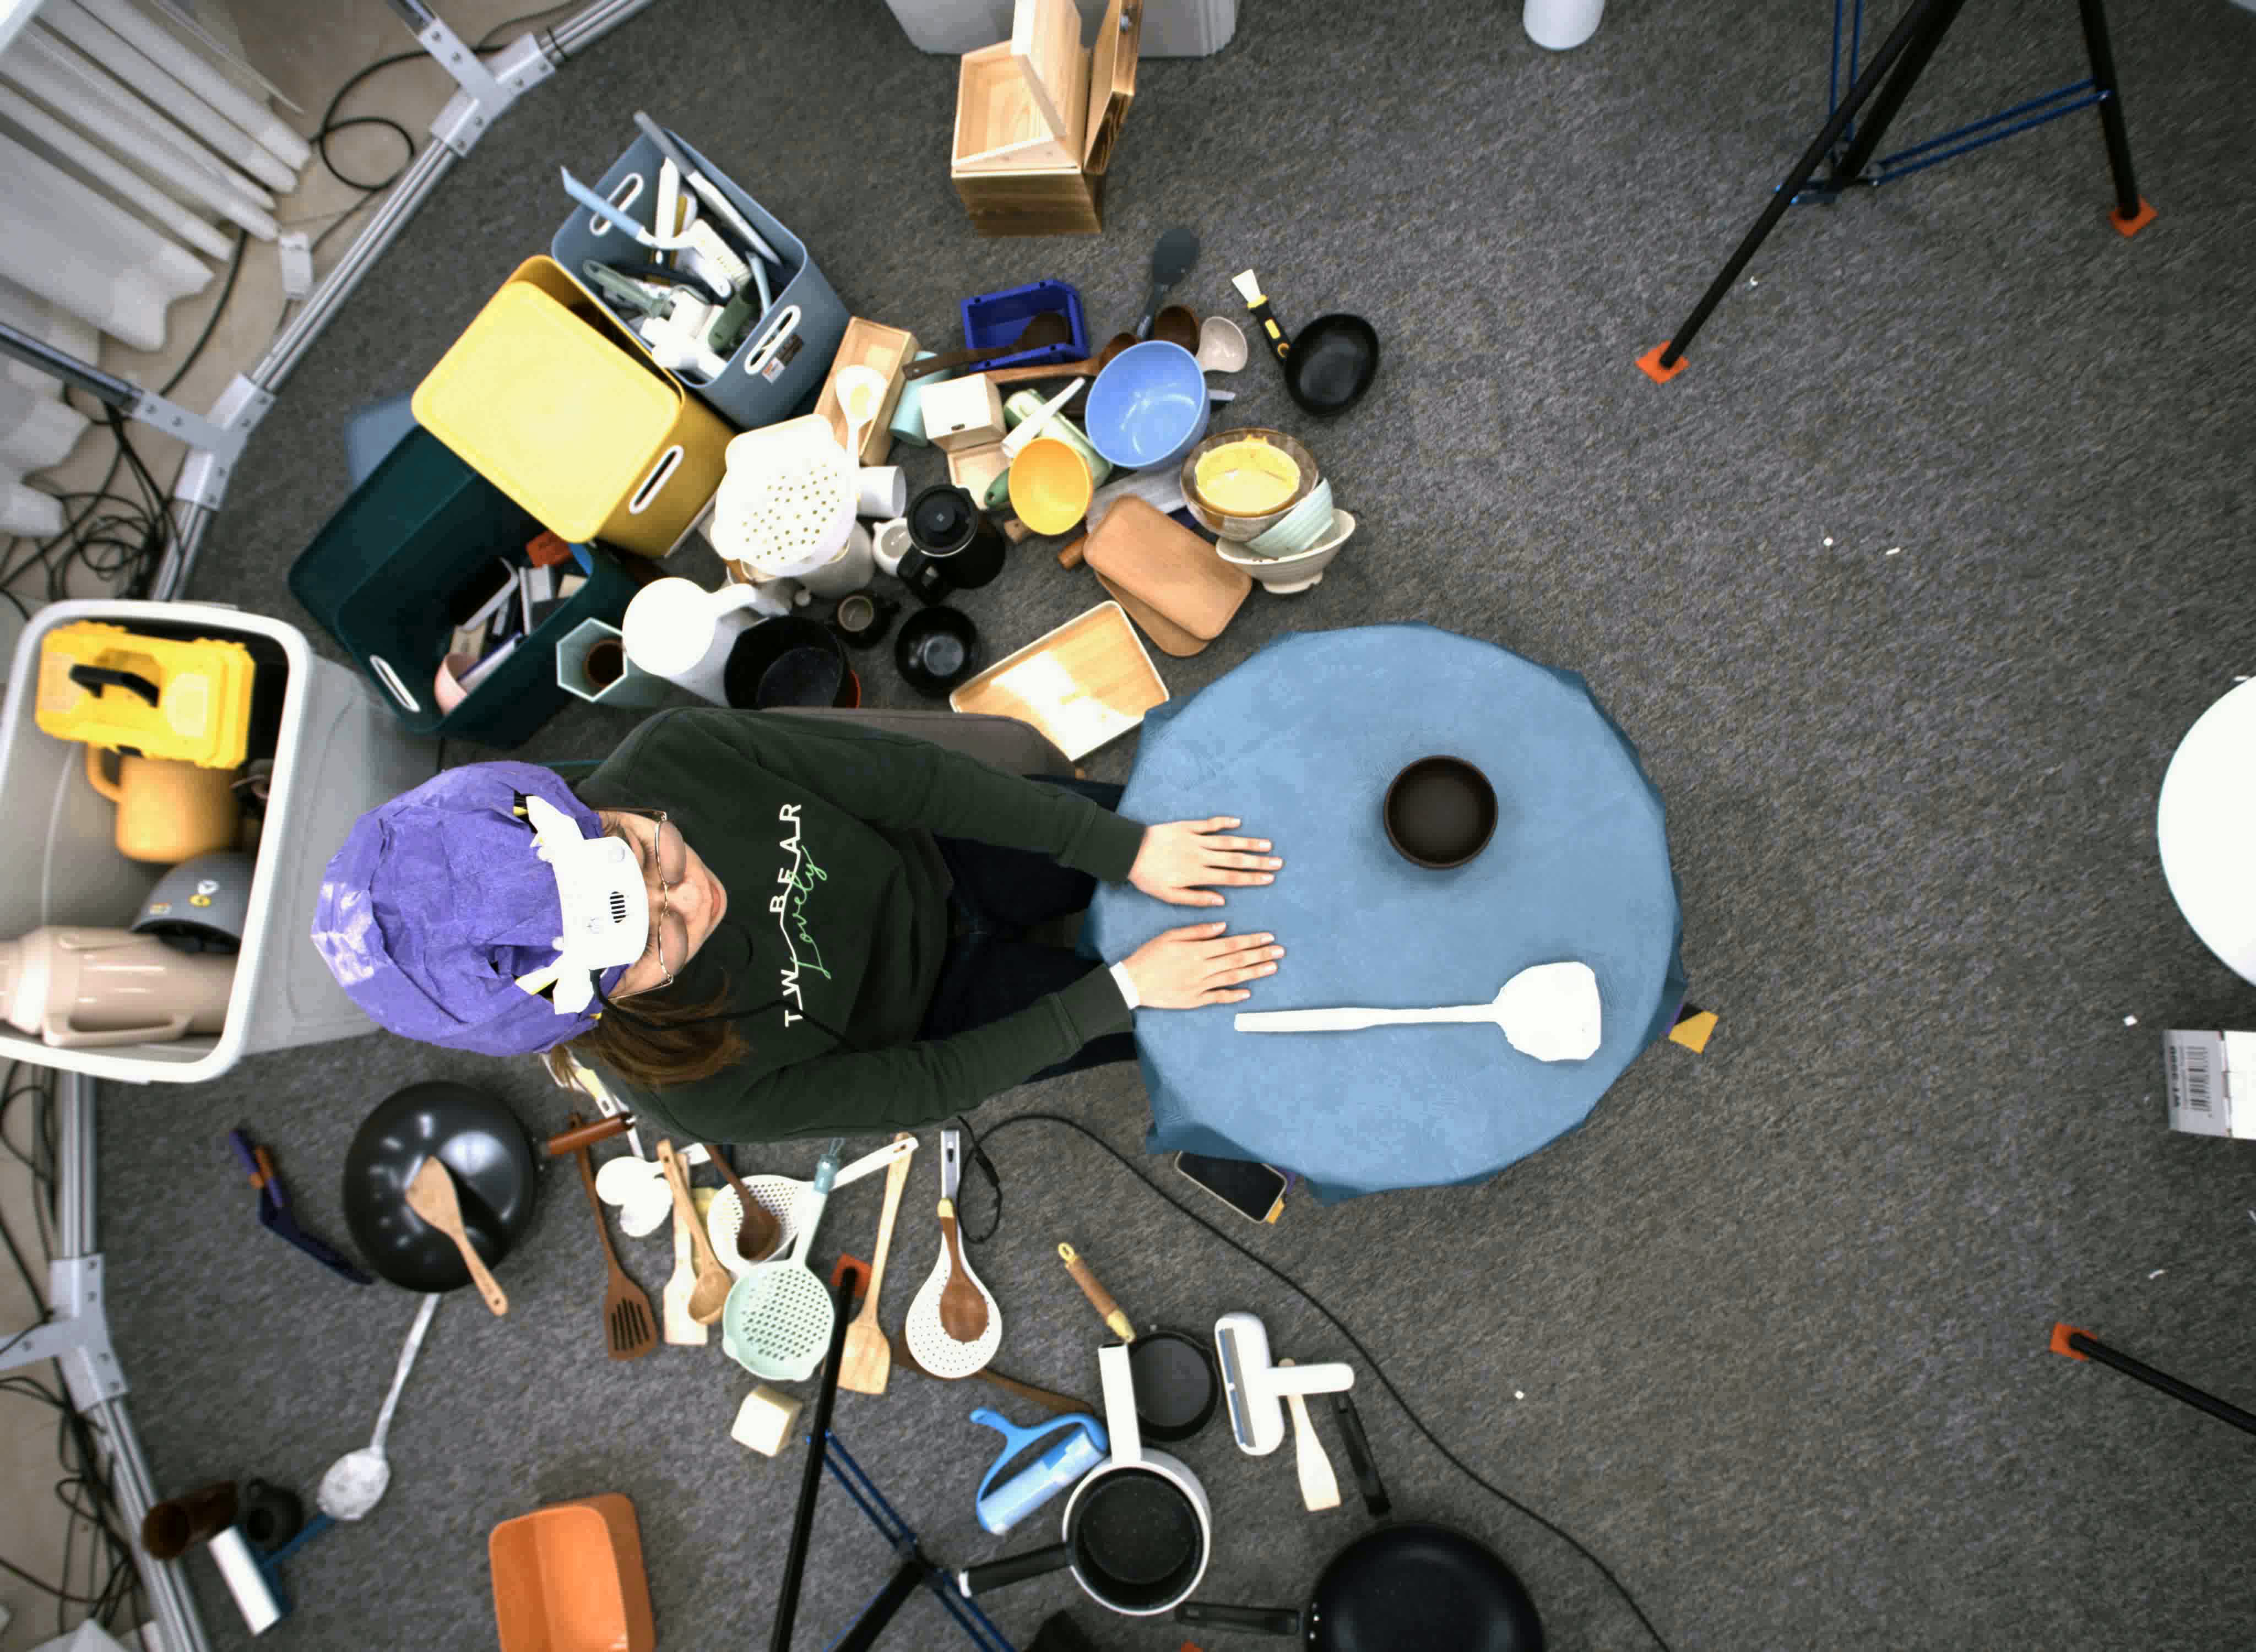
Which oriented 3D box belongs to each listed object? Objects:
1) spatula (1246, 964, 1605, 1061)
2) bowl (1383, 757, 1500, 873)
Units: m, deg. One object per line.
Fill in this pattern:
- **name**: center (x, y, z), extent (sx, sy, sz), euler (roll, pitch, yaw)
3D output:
- **spatula**: center (0.302, 0.193, 1.431), extent (0.366, 0.045, 0.098), euler (-2, 87, 10)
- **bowl**: center (0.323, -0.010, 1.424), extent (0.118, 0.070, 0.117), euler (-1, 84, 11)
